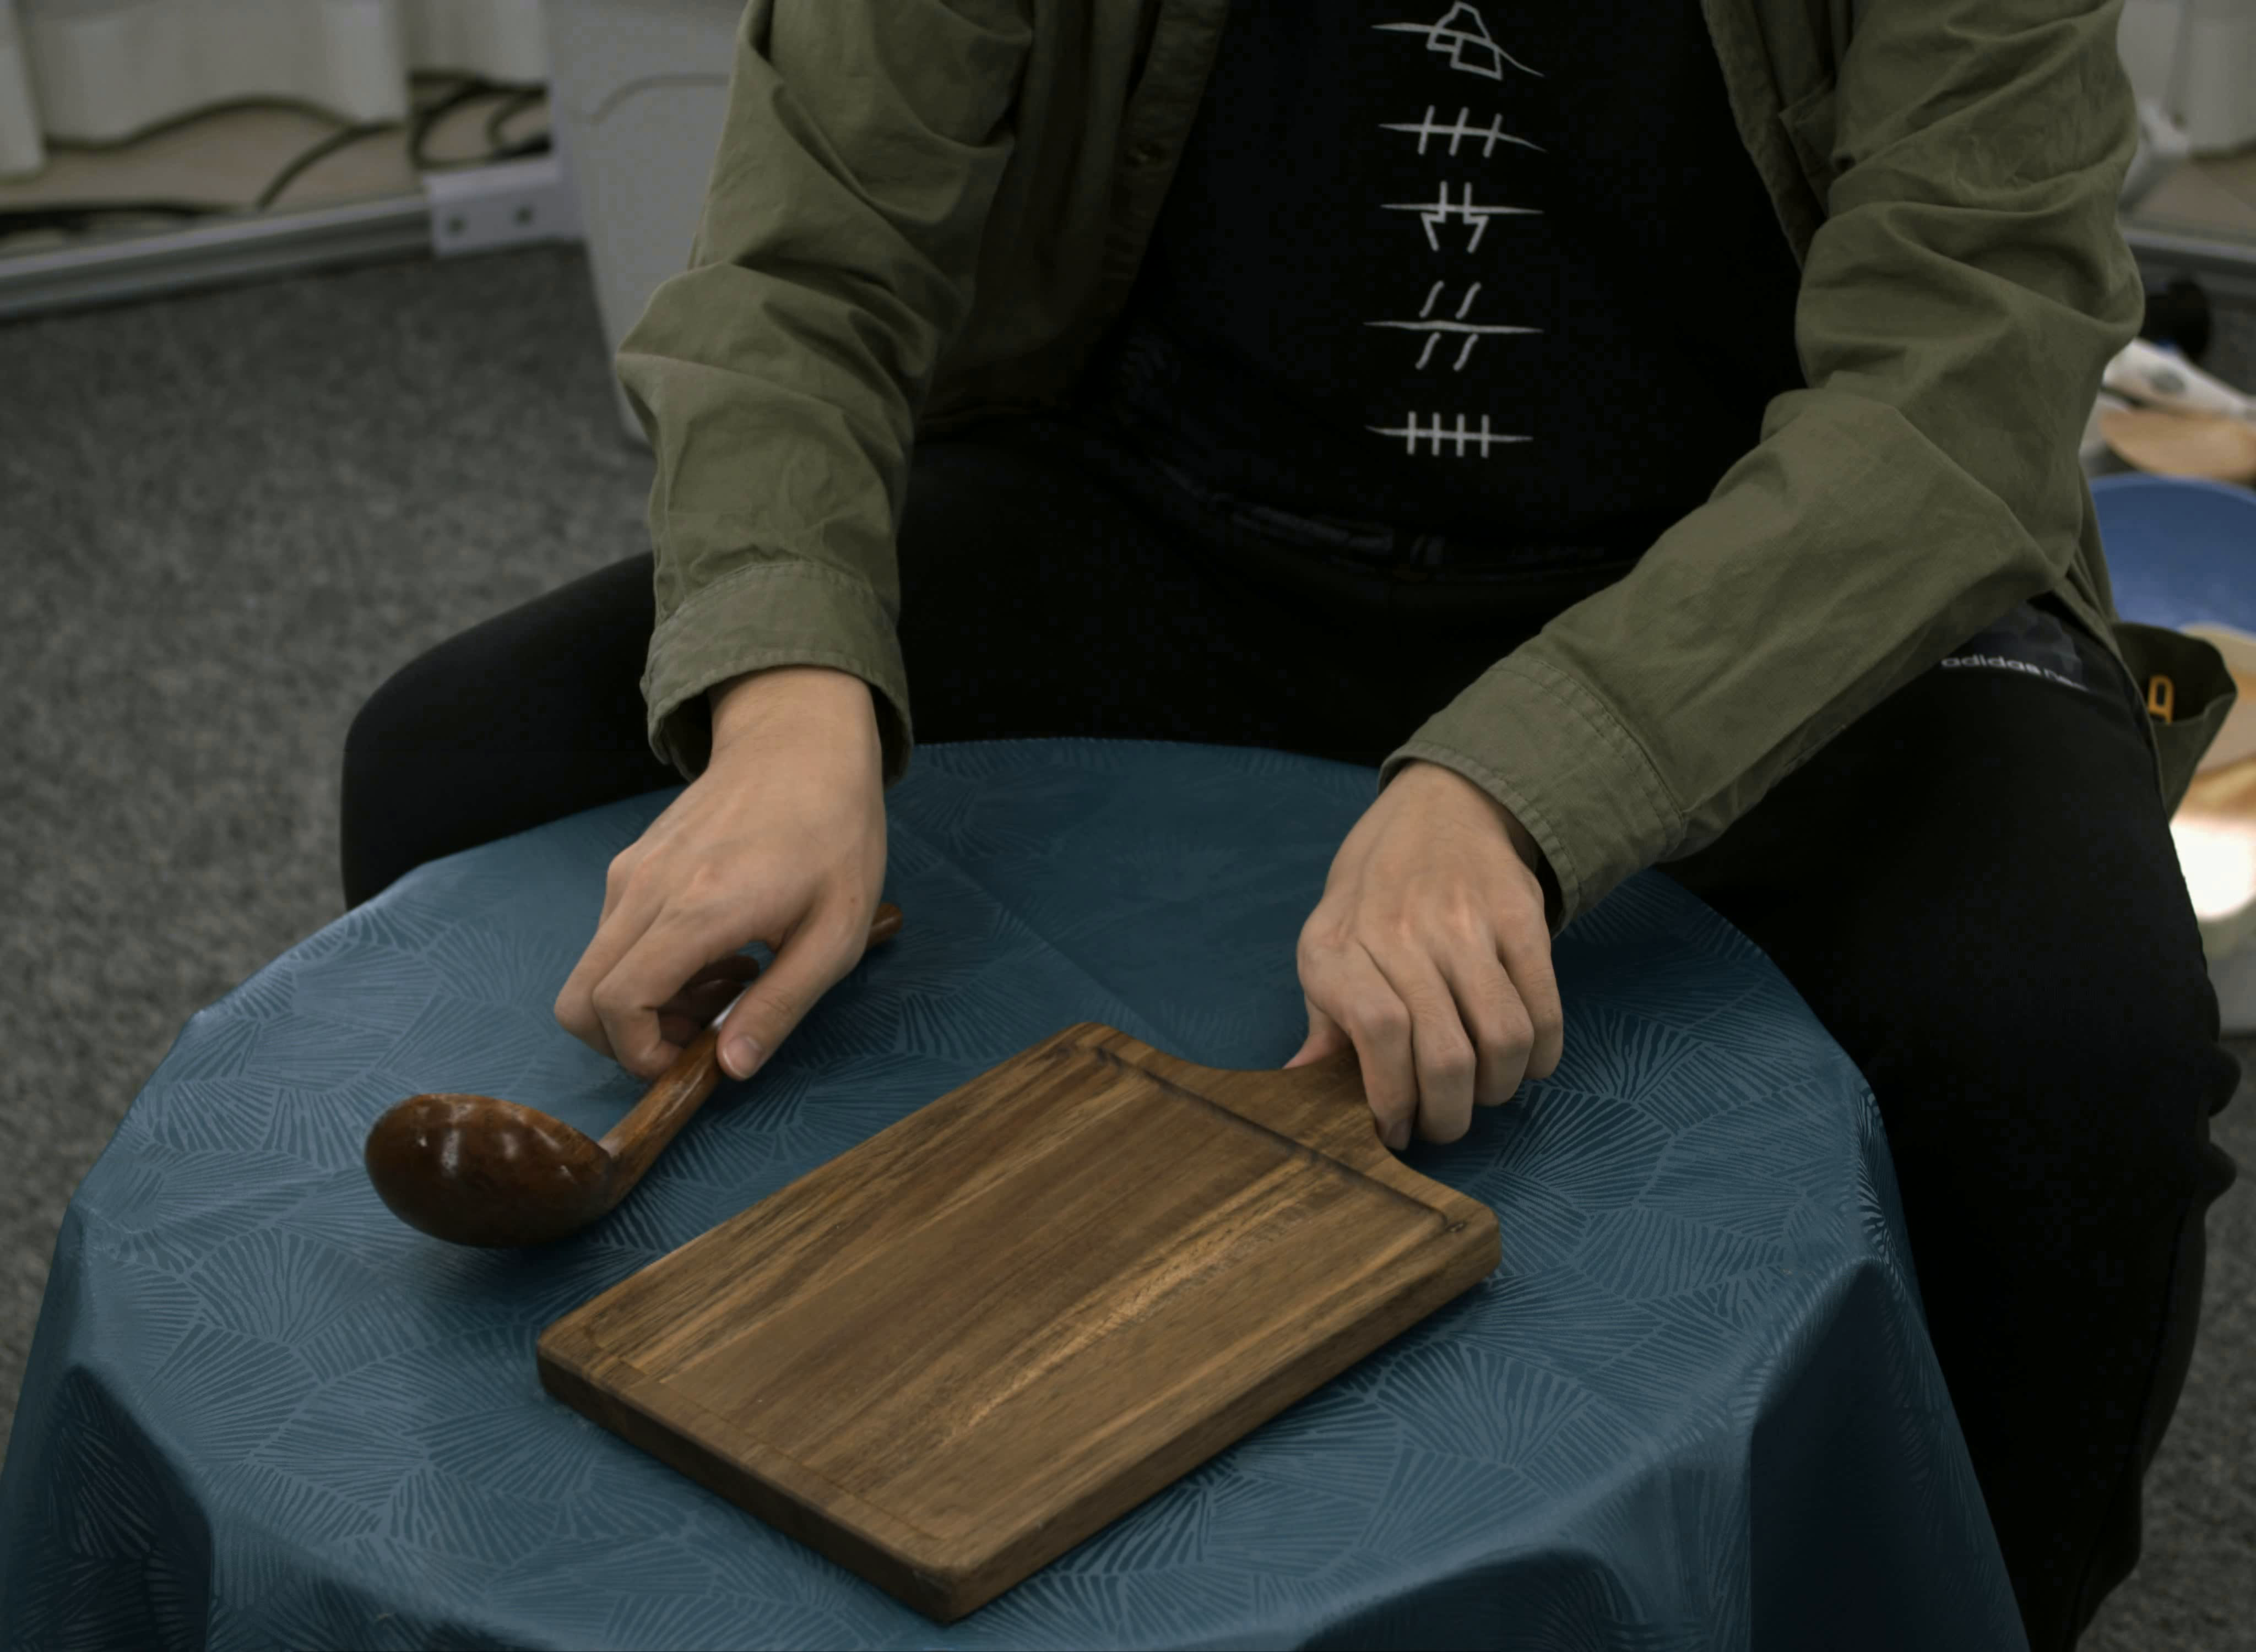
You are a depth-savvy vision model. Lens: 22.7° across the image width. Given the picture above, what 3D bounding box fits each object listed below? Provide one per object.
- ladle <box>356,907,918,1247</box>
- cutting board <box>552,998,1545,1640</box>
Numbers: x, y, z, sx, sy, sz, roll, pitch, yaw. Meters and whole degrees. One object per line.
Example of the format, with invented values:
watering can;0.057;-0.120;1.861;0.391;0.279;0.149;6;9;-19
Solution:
ladle;-0.161;0.065;1.904;0.081;0.076;0.278;-9;21;34
cutting board;0.009;0.136;1.795;0.356;0.023;0.201;-27;36;-36
